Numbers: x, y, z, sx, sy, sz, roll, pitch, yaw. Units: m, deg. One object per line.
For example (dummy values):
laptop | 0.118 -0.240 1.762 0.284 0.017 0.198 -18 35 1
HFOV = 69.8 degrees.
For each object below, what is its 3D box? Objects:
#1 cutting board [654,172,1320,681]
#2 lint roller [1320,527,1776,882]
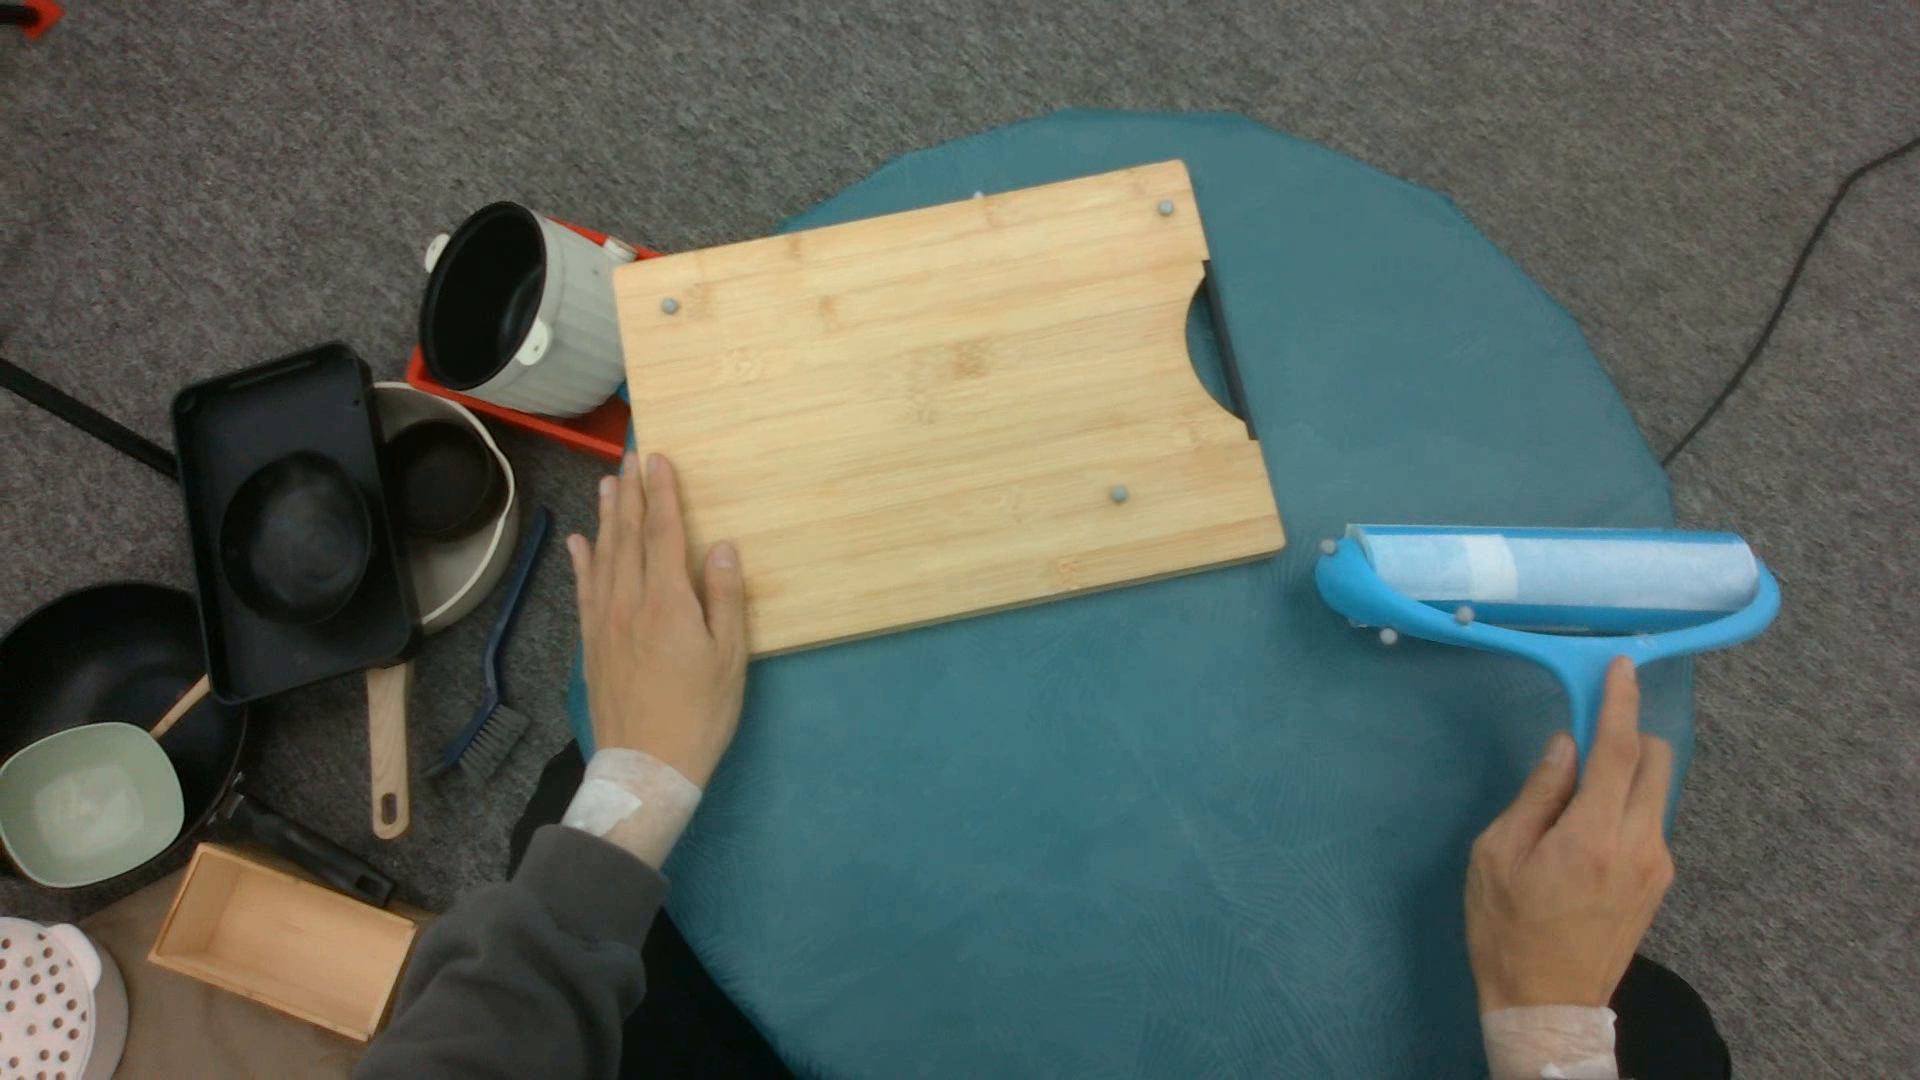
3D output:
cutting board | 0.005 -0.069 0.791 0.348 0.023 0.251 -12 74 0
lint roller | 0.304 0.073 0.687 0.229 0.067 0.181 -1 61 -3
